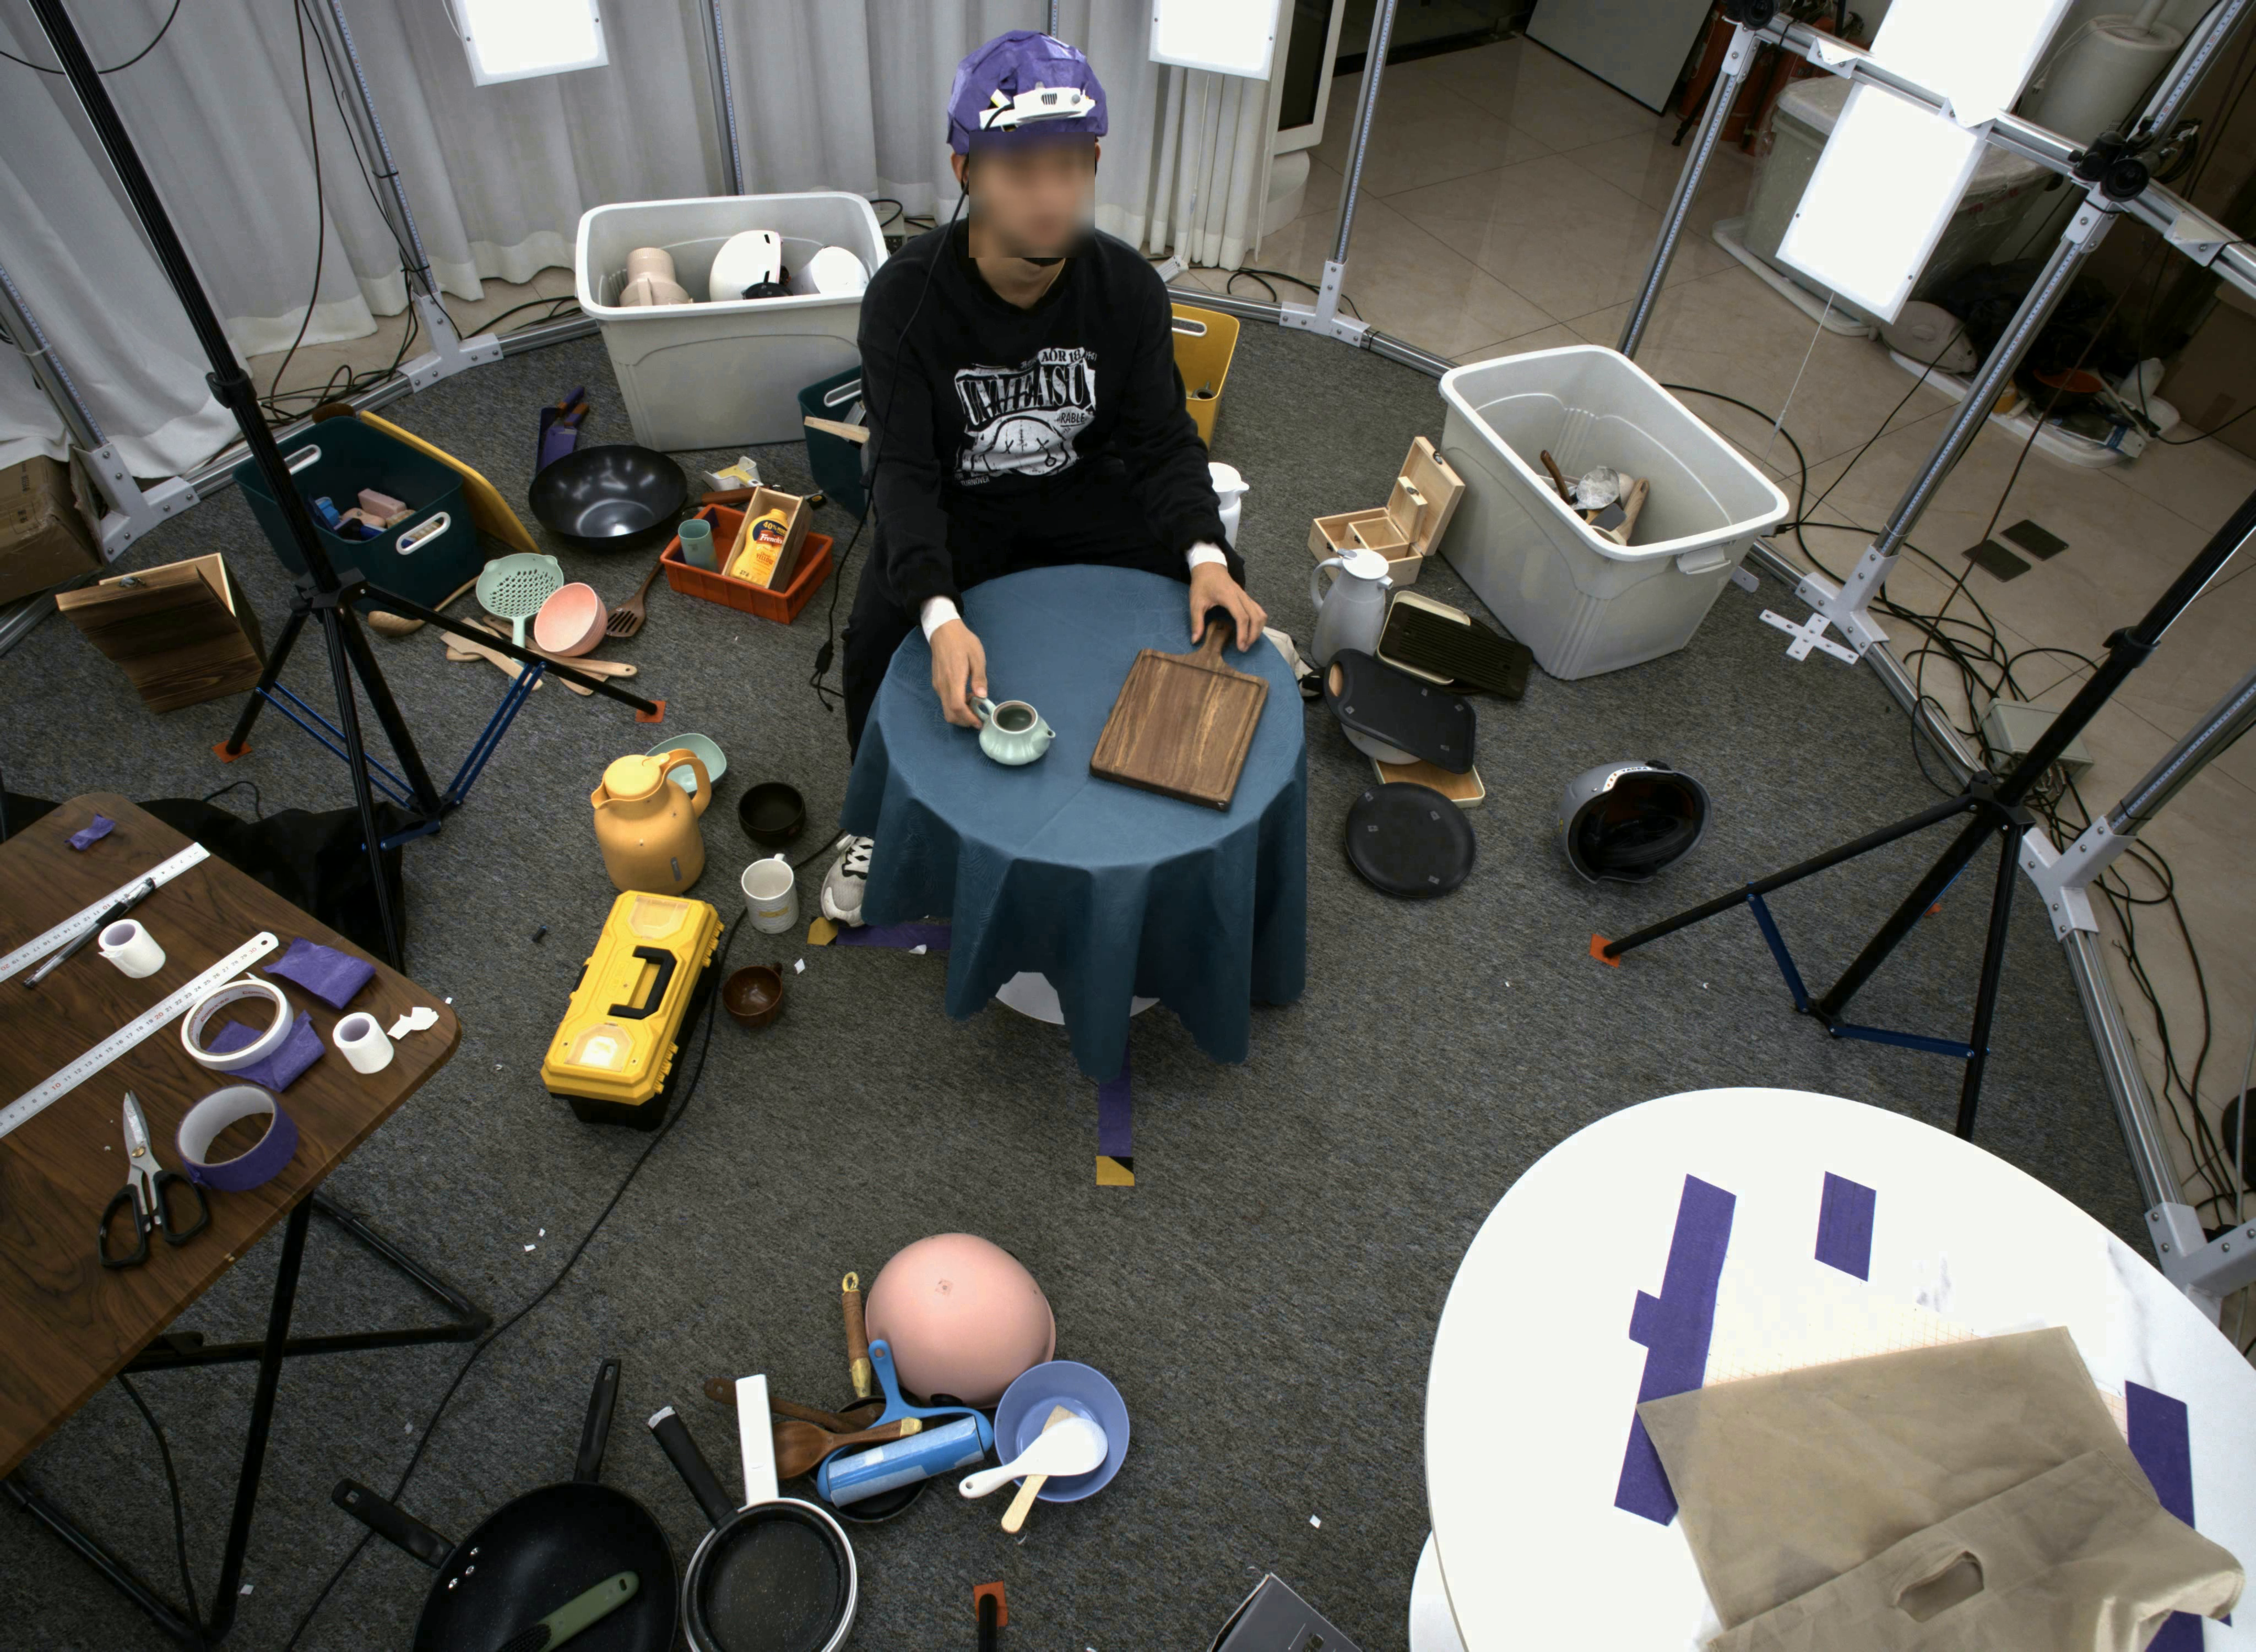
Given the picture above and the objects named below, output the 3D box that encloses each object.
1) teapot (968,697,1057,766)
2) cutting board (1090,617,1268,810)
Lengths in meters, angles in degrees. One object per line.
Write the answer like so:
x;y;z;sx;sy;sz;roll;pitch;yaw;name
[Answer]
-0.157;-0.131;1.735;0.138;0.060;0.097;26;54;17;teapot
0.088;-0.176;1.813;0.201;0.022;0.359;14;50;8;cutting board
